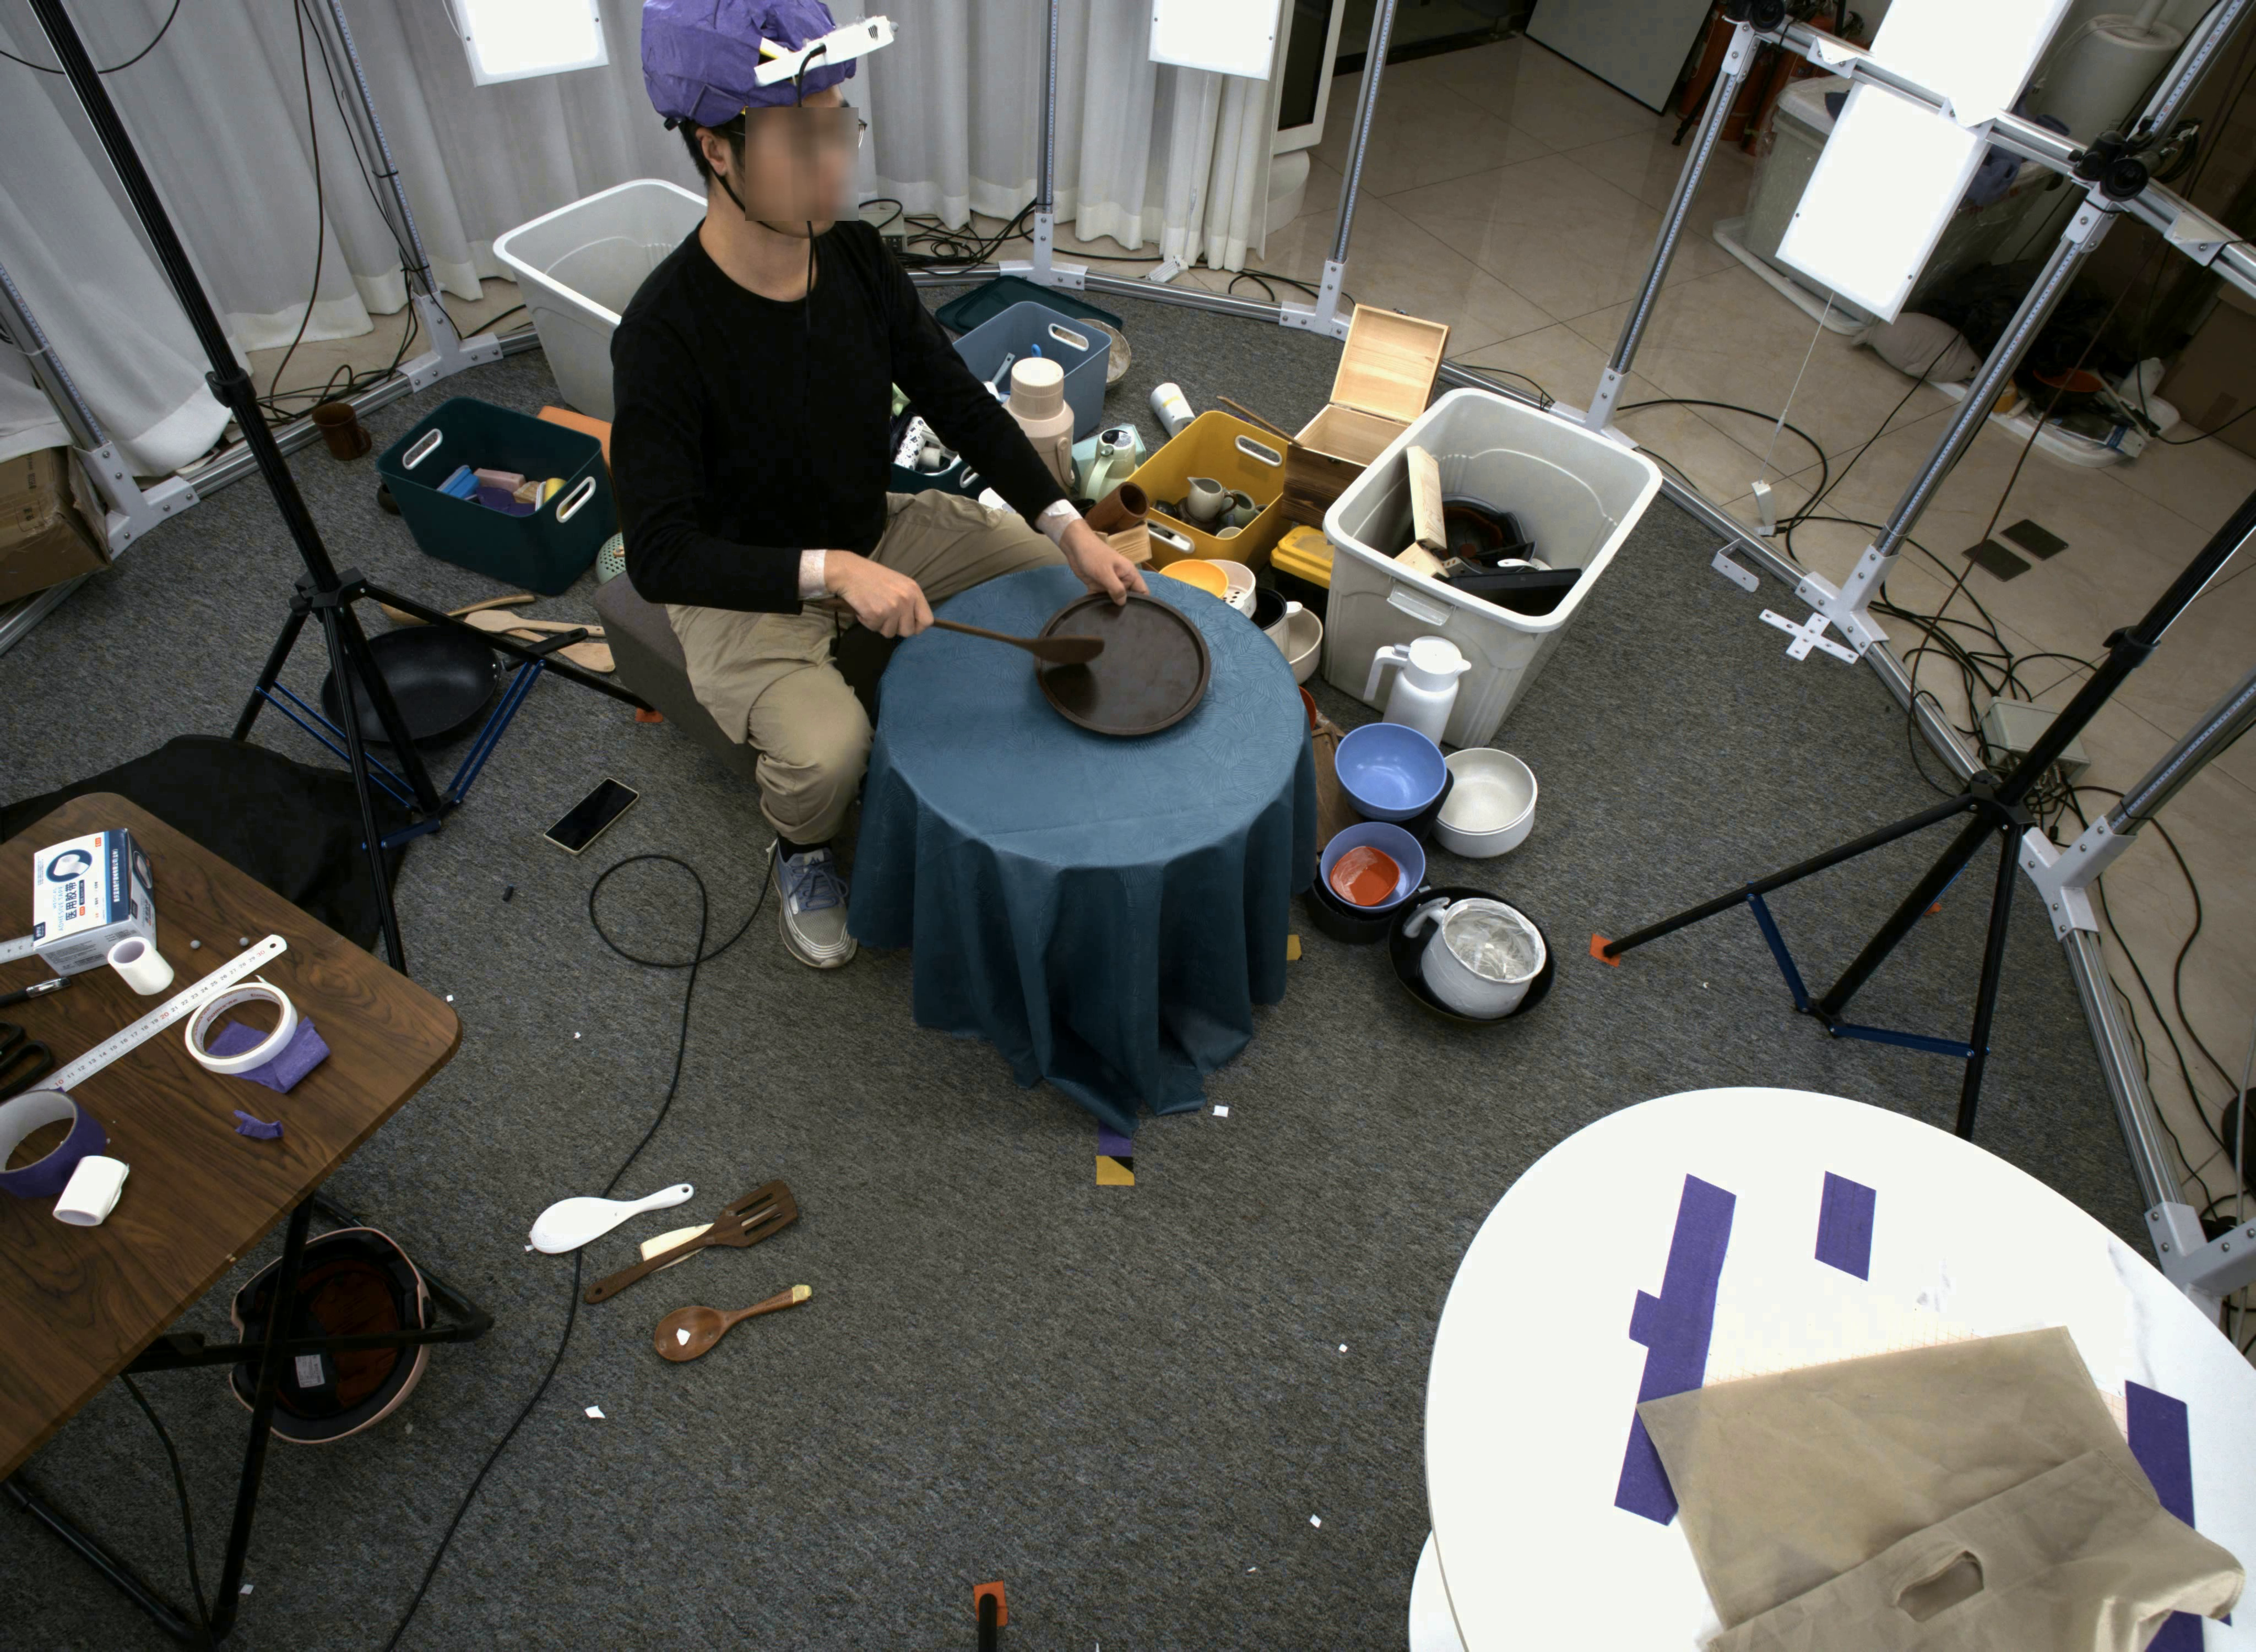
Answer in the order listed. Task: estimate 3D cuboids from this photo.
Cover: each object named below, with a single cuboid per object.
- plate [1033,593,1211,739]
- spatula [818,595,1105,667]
[{"bbox_3d":[-0.009,-0.229,1.829,0.254,0.028,0.260,2,60,-4],"label":"plate"},{"bbox_3d":[-0.219,-0.264,1.730,0.384,0.095,0.016,10,71,-17],"label":"spatula"}]
